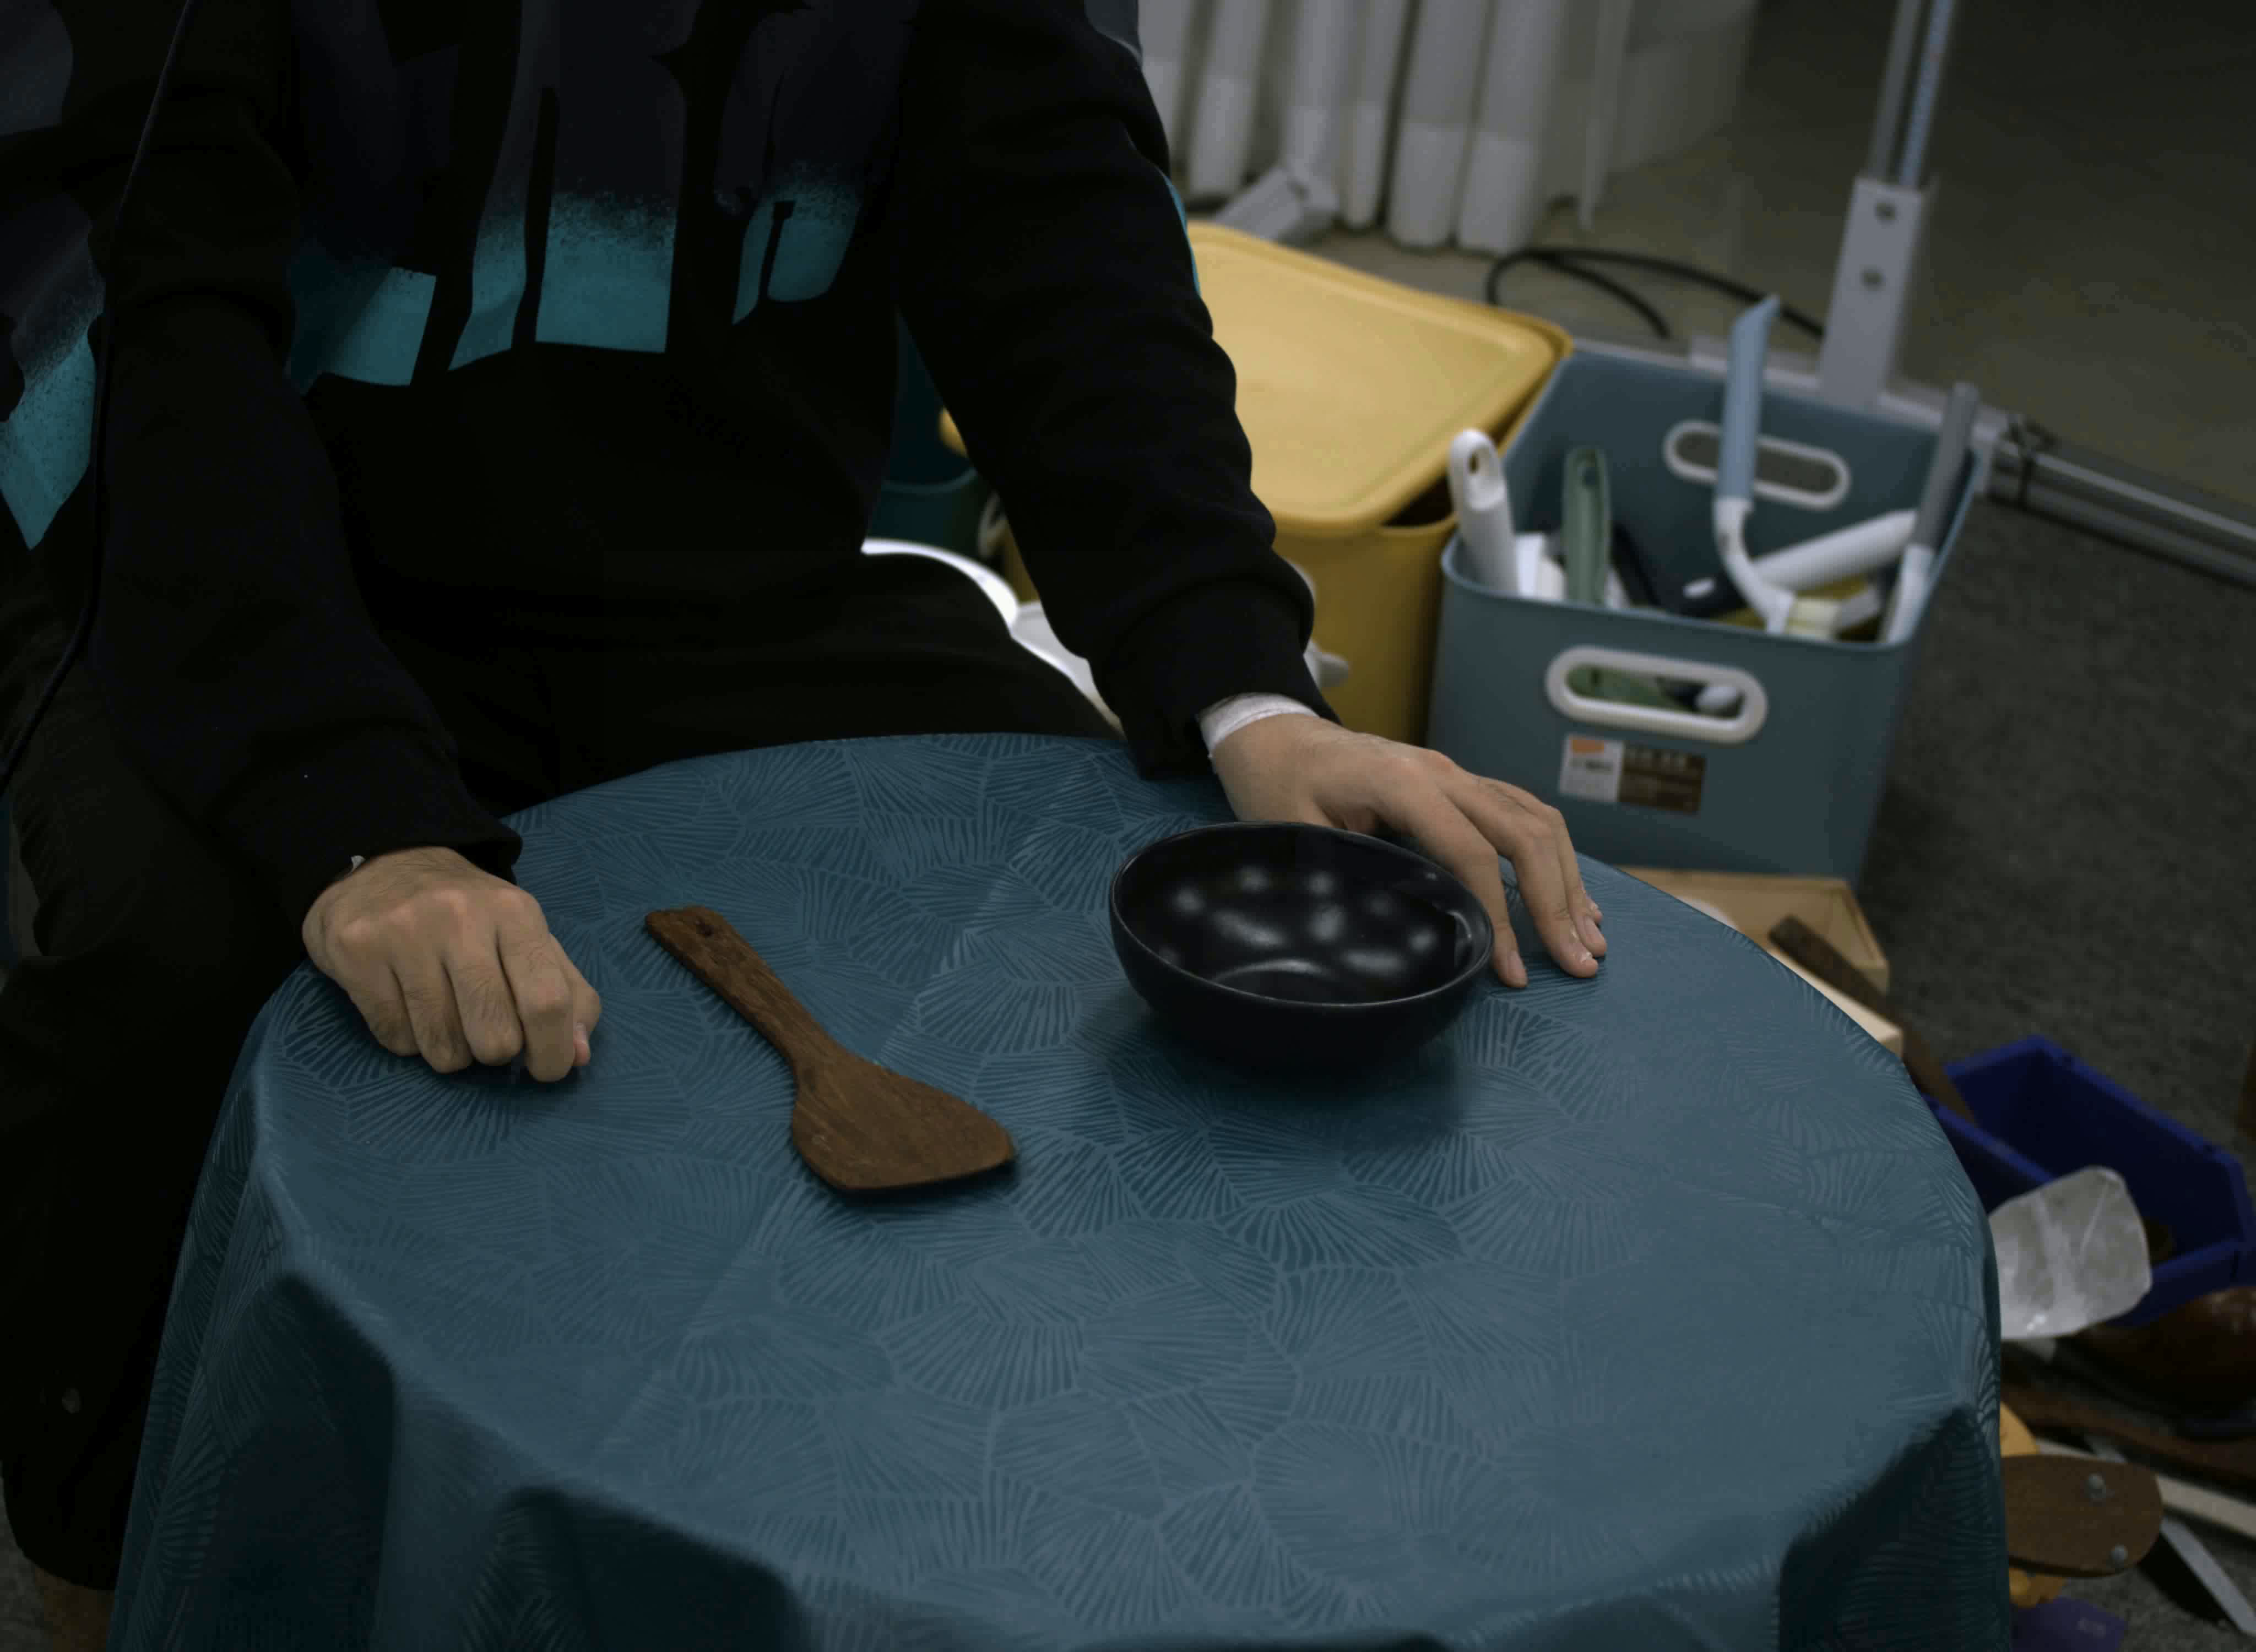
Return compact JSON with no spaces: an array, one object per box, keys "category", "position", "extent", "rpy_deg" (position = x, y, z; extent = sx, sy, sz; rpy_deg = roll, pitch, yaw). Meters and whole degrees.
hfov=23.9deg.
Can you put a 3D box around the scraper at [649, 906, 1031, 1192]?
[{"category":"scraper","position":[-0.112,0.077,1.860],"extent":[0.075,0.011,0.213],"rpy_deg":[-8,29,-30]}]

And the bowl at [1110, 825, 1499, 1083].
[{"category":"bowl","position":[0.062,0.053,1.902],"extent":[0.139,0.049,0.141],"rpy_deg":[2,27,-2]}]
